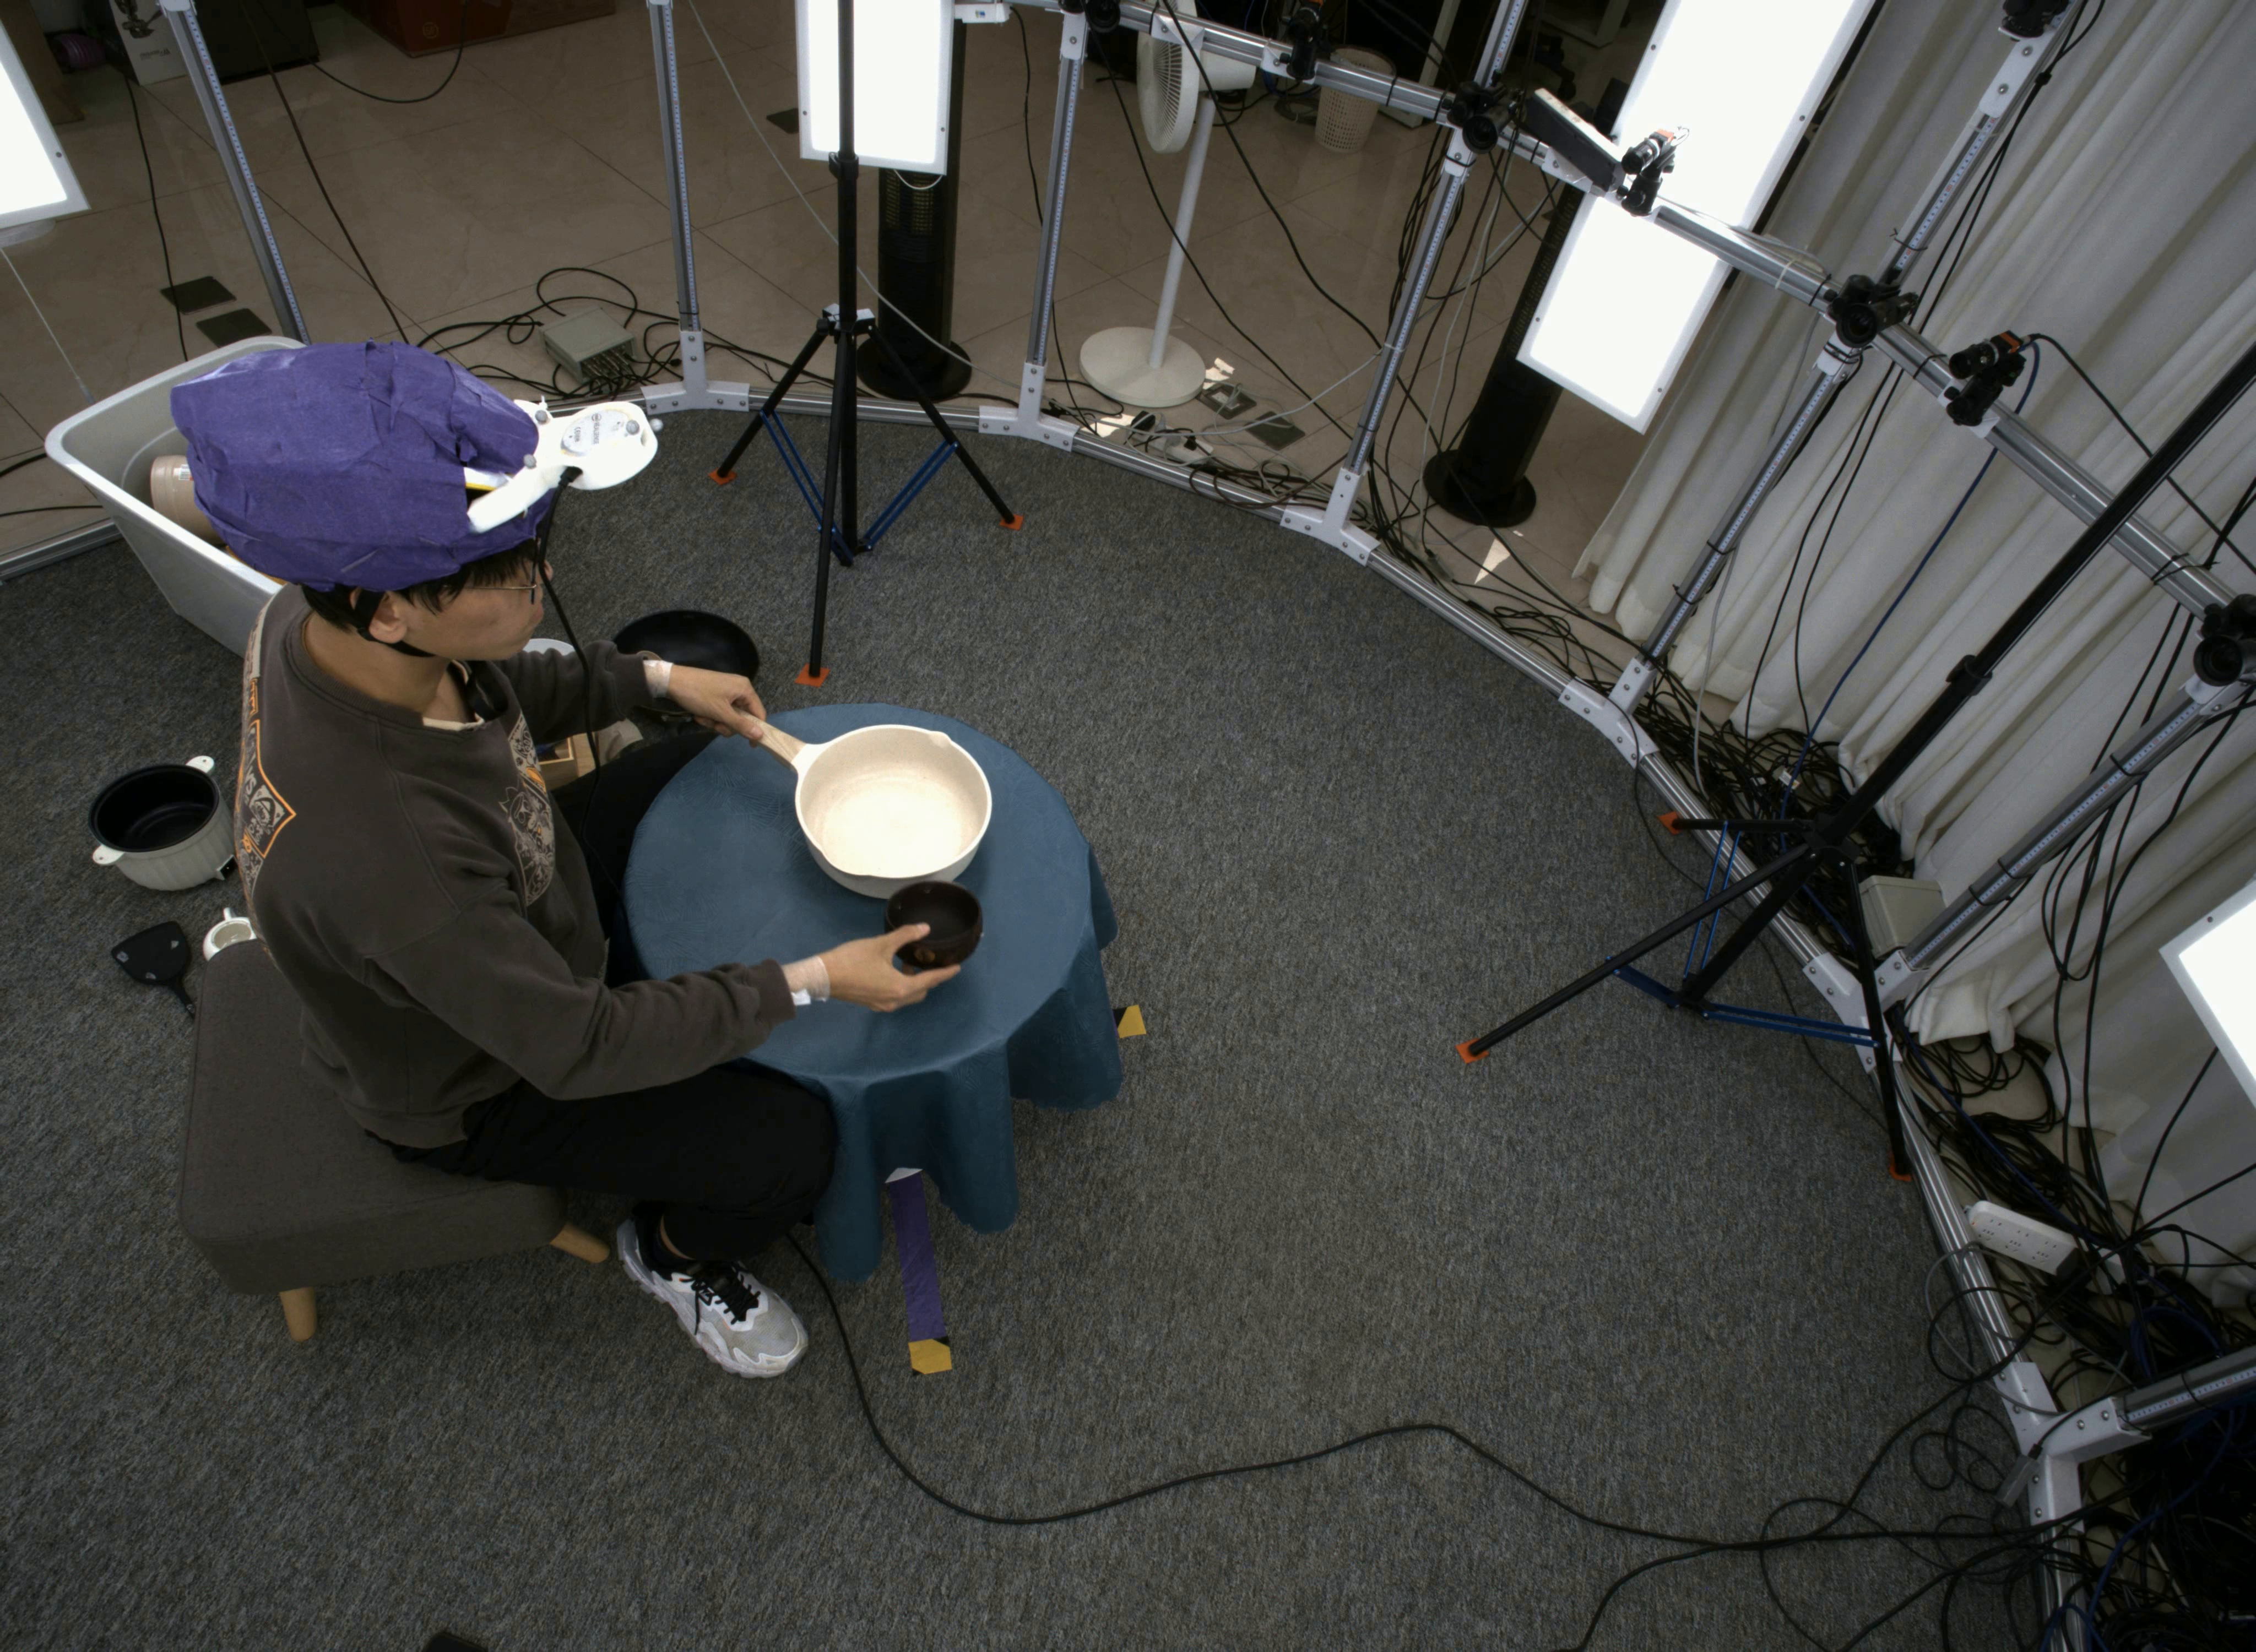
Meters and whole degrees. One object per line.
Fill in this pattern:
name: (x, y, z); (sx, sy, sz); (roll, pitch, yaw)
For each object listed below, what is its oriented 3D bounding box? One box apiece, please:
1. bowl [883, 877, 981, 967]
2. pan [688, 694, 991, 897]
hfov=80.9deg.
bowl: (-0.237, 0.123, 1.578); (0.117, 0.072, 0.115); (4, 39, -2)
pan: (-0.390, -0.057, 1.726); (0.429, 0.104, 0.261); (24, 55, 5)
